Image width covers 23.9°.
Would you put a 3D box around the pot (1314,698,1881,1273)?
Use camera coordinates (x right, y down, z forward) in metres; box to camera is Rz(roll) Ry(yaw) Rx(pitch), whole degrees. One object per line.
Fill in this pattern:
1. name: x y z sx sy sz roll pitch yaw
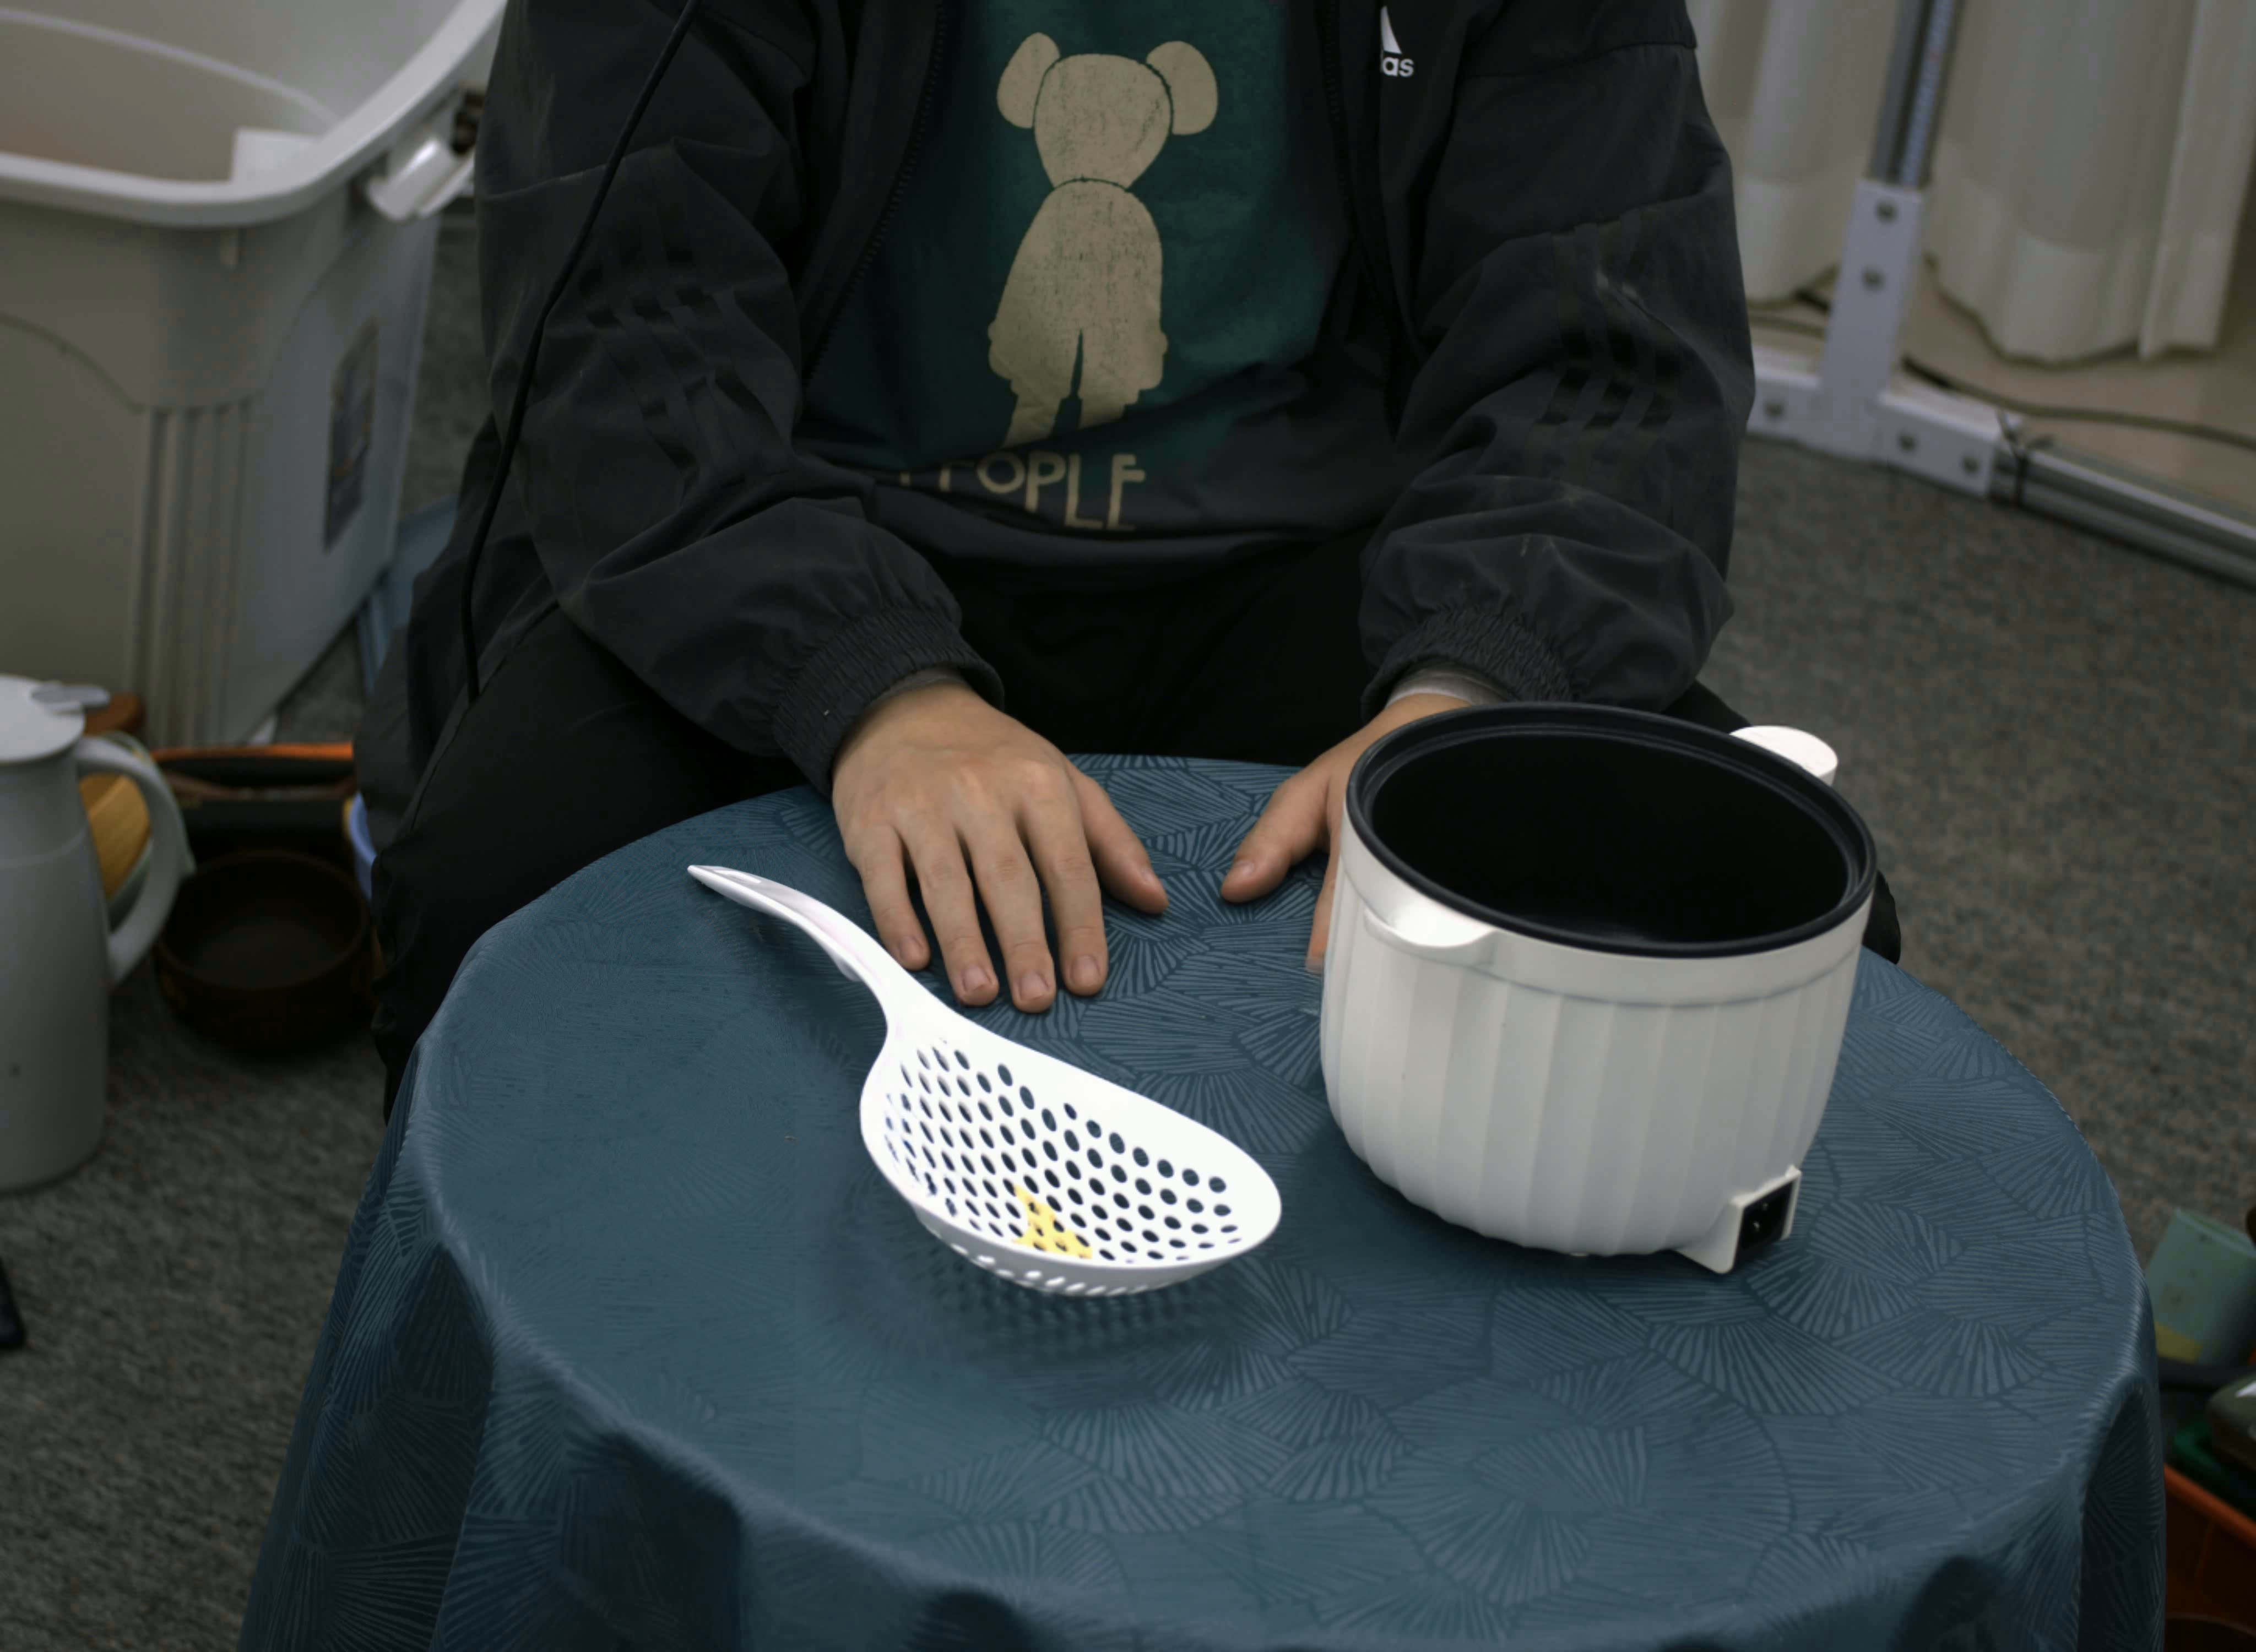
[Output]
1. pot: 0.151 0.055 1.822 0.192 0.142 0.239 29 33 32

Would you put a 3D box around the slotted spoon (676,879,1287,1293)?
1. slotted spoon: -0.071 0.077 1.833 0.136 0.050 0.351 -4 28 -29
